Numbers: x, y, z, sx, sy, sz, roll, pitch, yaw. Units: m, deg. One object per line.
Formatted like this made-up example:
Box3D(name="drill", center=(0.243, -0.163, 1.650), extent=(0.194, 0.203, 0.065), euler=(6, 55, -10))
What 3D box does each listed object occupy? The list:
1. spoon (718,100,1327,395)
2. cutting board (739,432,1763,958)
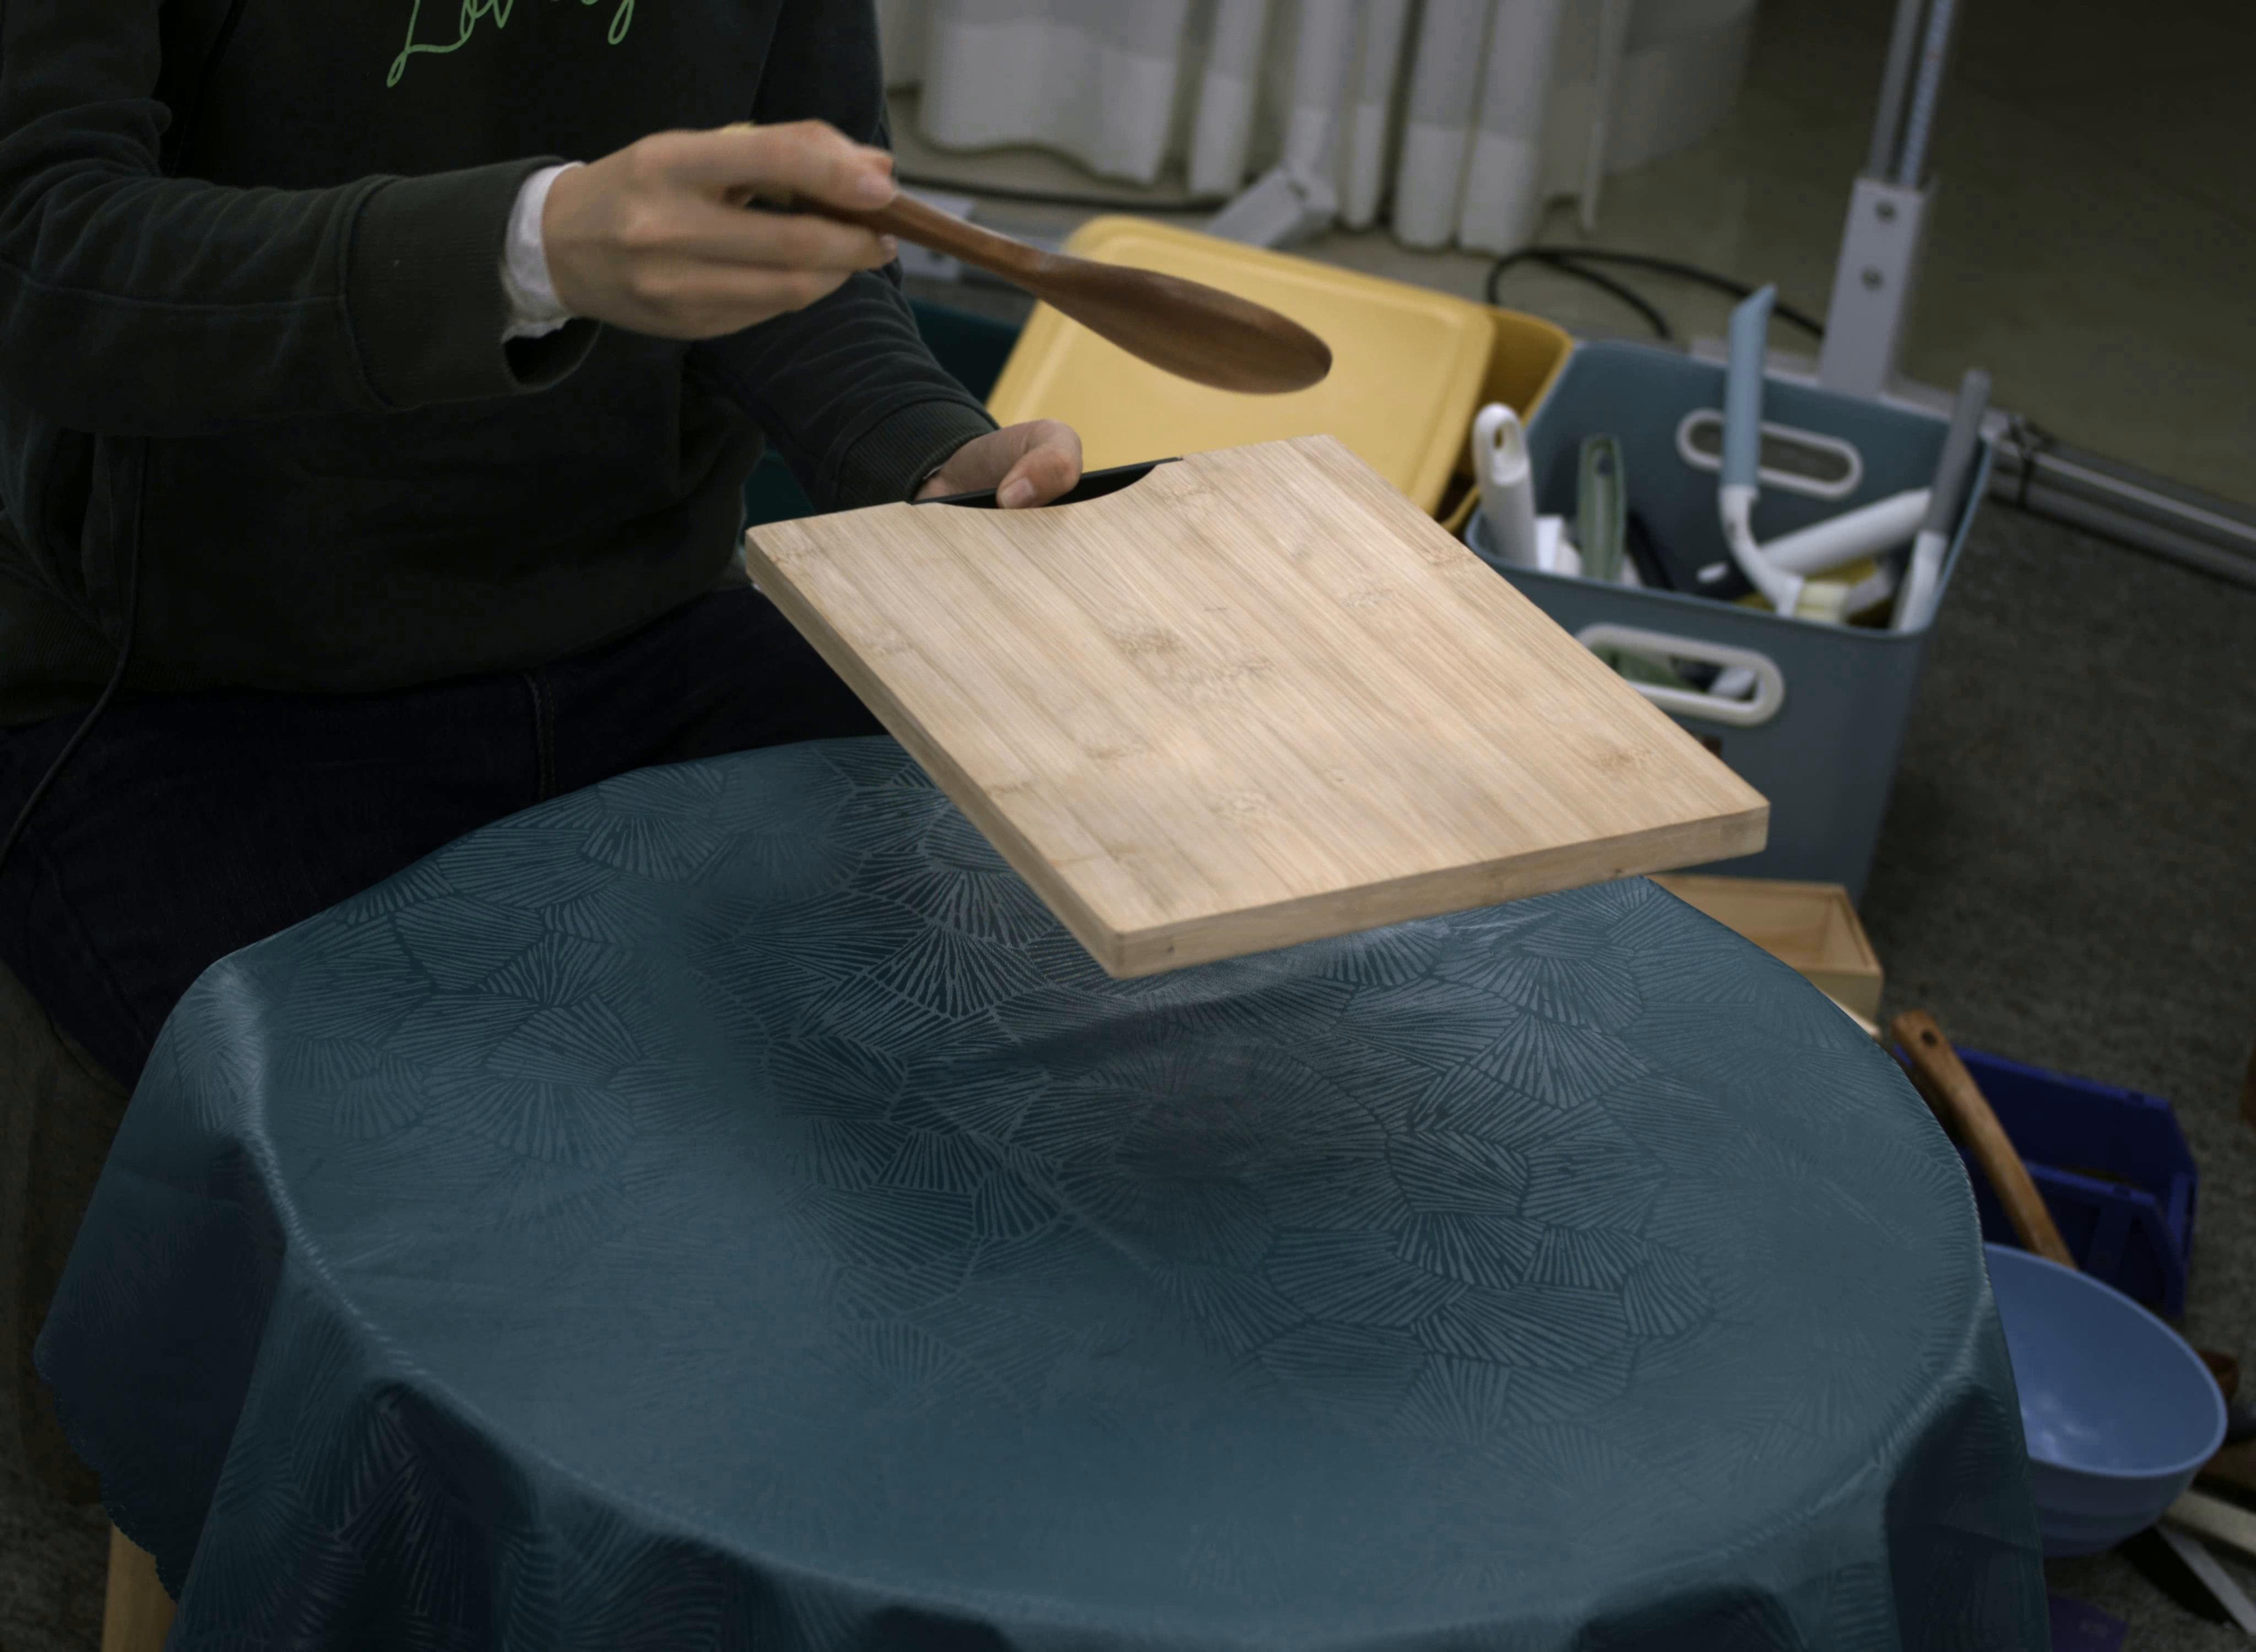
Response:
Box3D(name="spoon", center=(-0.034, -0.184, 1.732), extent=(0.214, 0.017, 0.075), euler=(24, -11, -14))
Box3D(name="cutting board", center=(0.033, -0.053, 1.867), extent=(0.249, 0.023, 0.352), euler=(-10, 29, -22))
